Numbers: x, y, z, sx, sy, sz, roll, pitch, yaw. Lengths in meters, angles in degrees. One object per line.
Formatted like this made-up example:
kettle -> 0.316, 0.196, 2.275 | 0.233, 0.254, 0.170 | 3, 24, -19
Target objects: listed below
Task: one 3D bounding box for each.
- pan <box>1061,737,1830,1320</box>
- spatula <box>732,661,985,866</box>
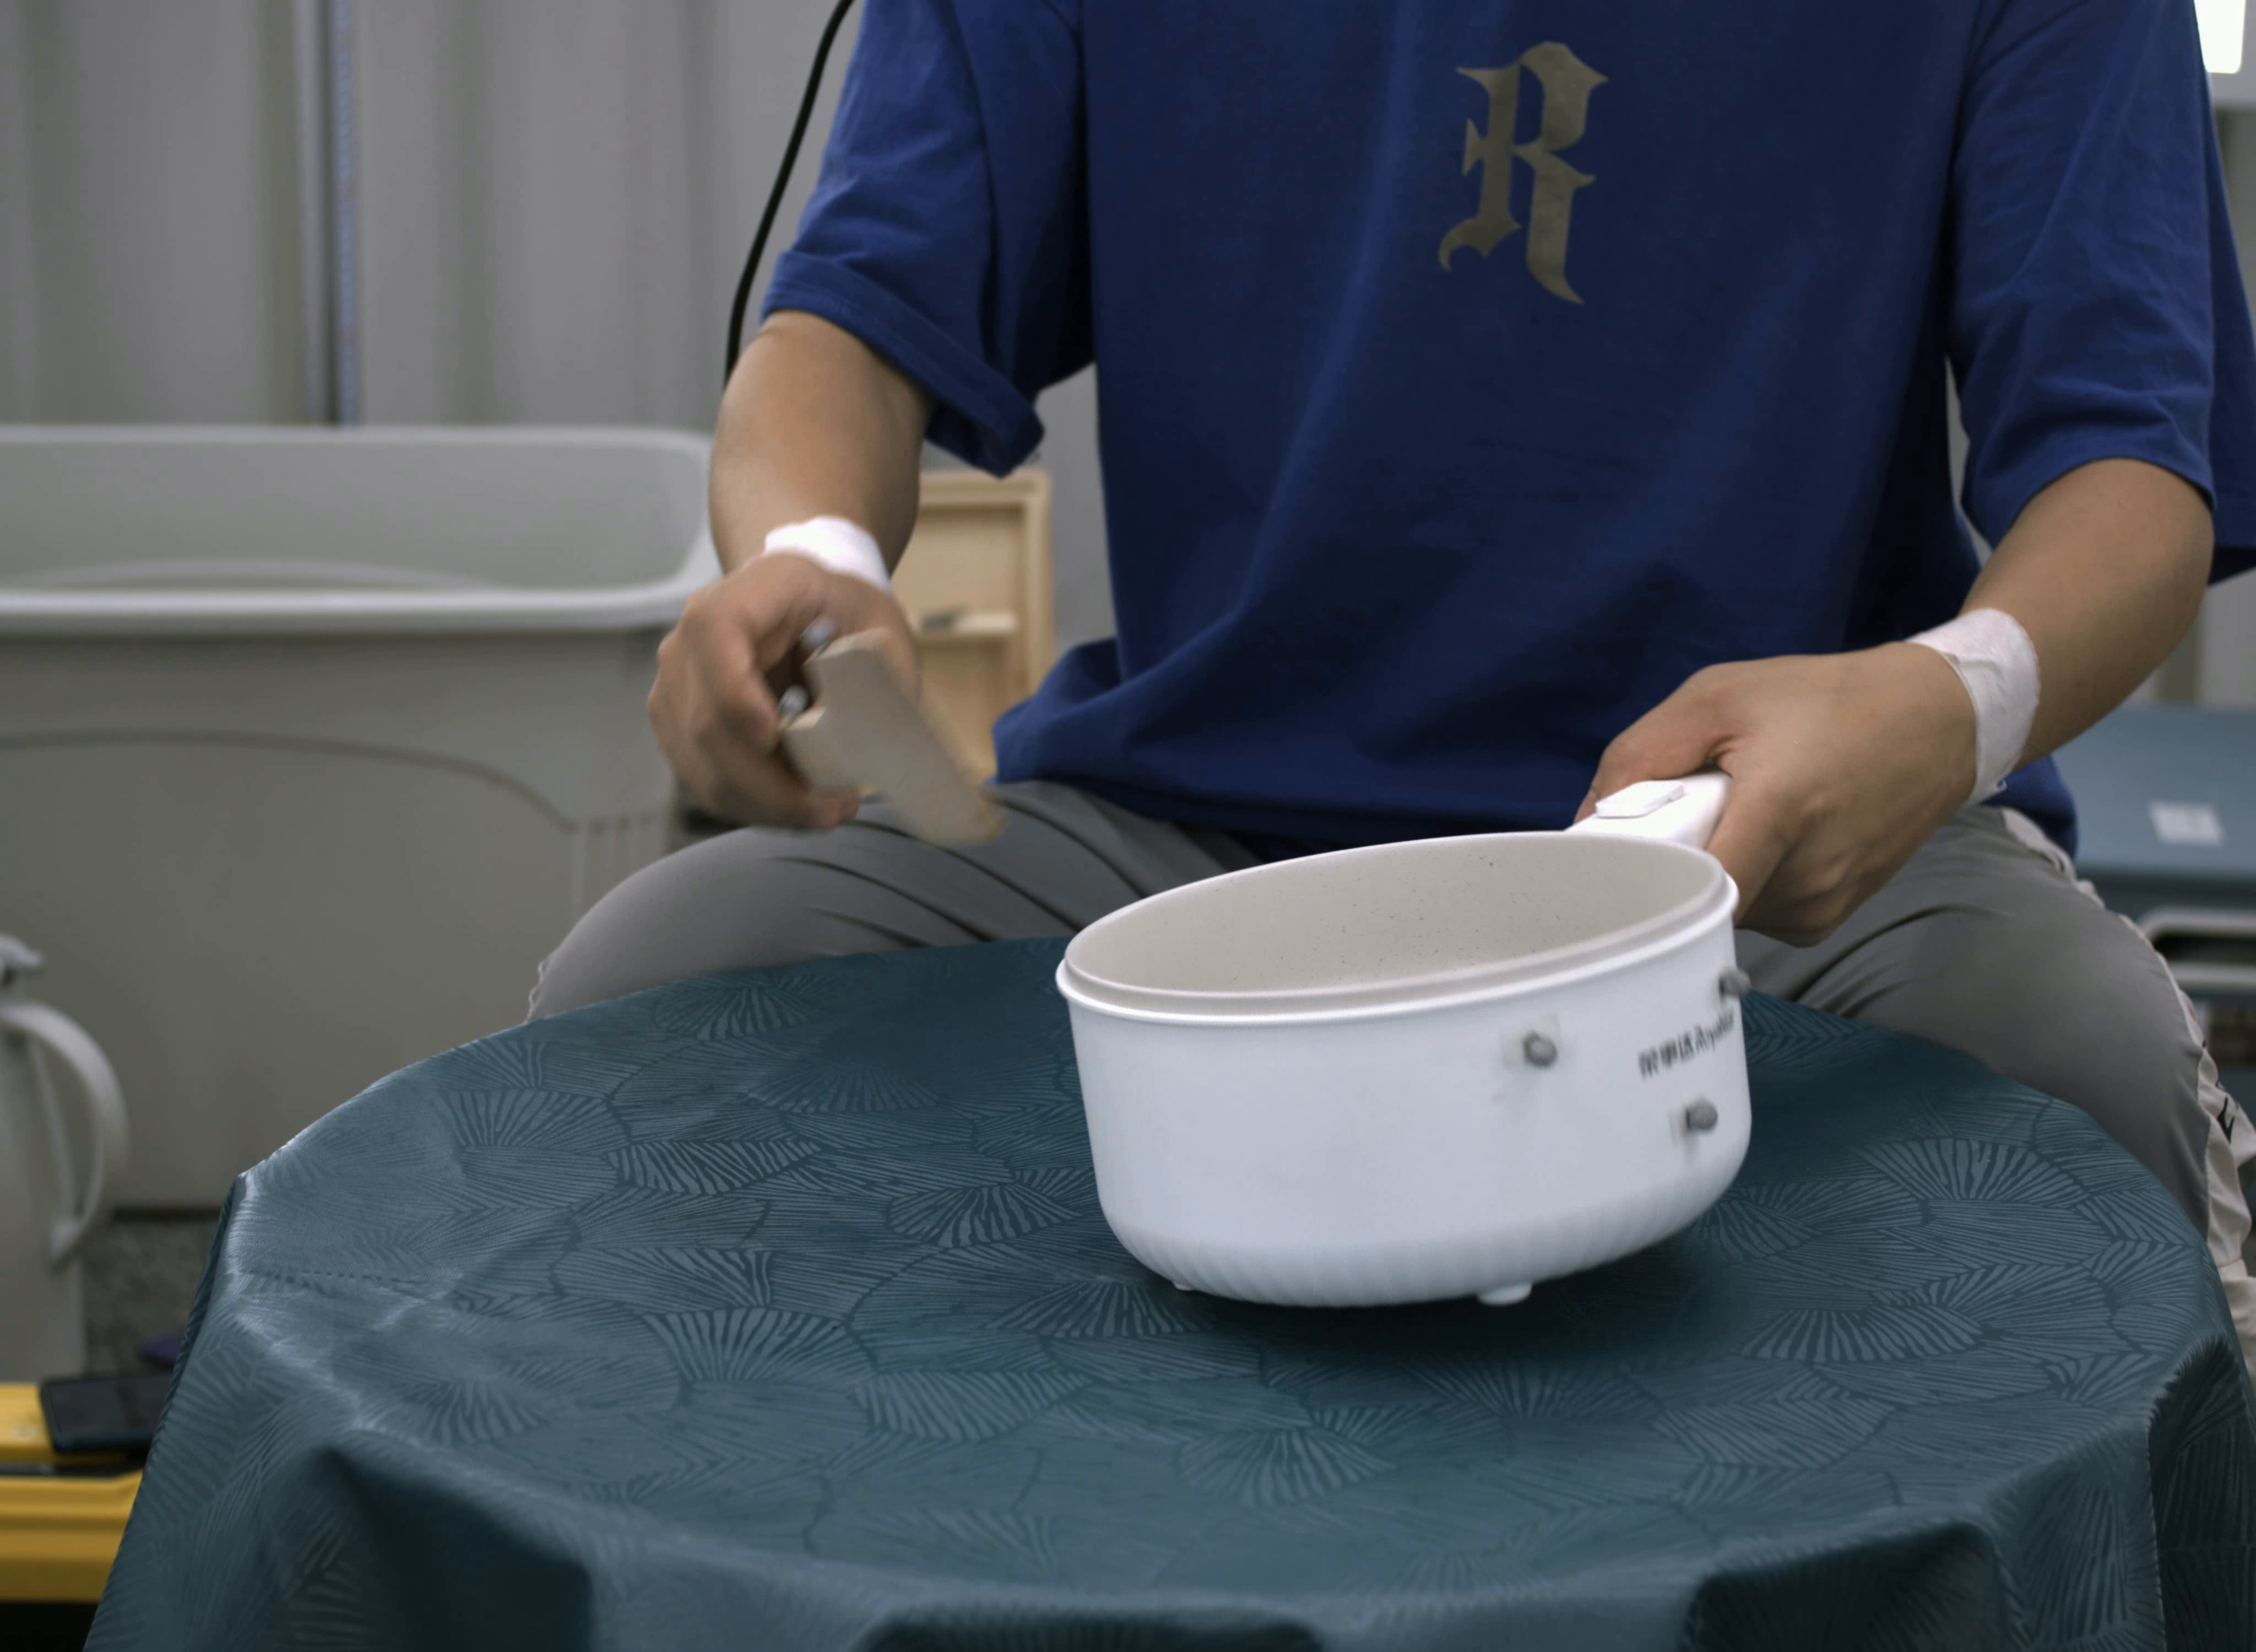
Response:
pan -> 0.125, 0.058, 1.609 | 0.199, 0.103, 0.356 | -1, 13, 32
spatula -> -0.096, -0.019, 1.652 | 0.010, 0.072, 0.291 | -38, 8, -10
